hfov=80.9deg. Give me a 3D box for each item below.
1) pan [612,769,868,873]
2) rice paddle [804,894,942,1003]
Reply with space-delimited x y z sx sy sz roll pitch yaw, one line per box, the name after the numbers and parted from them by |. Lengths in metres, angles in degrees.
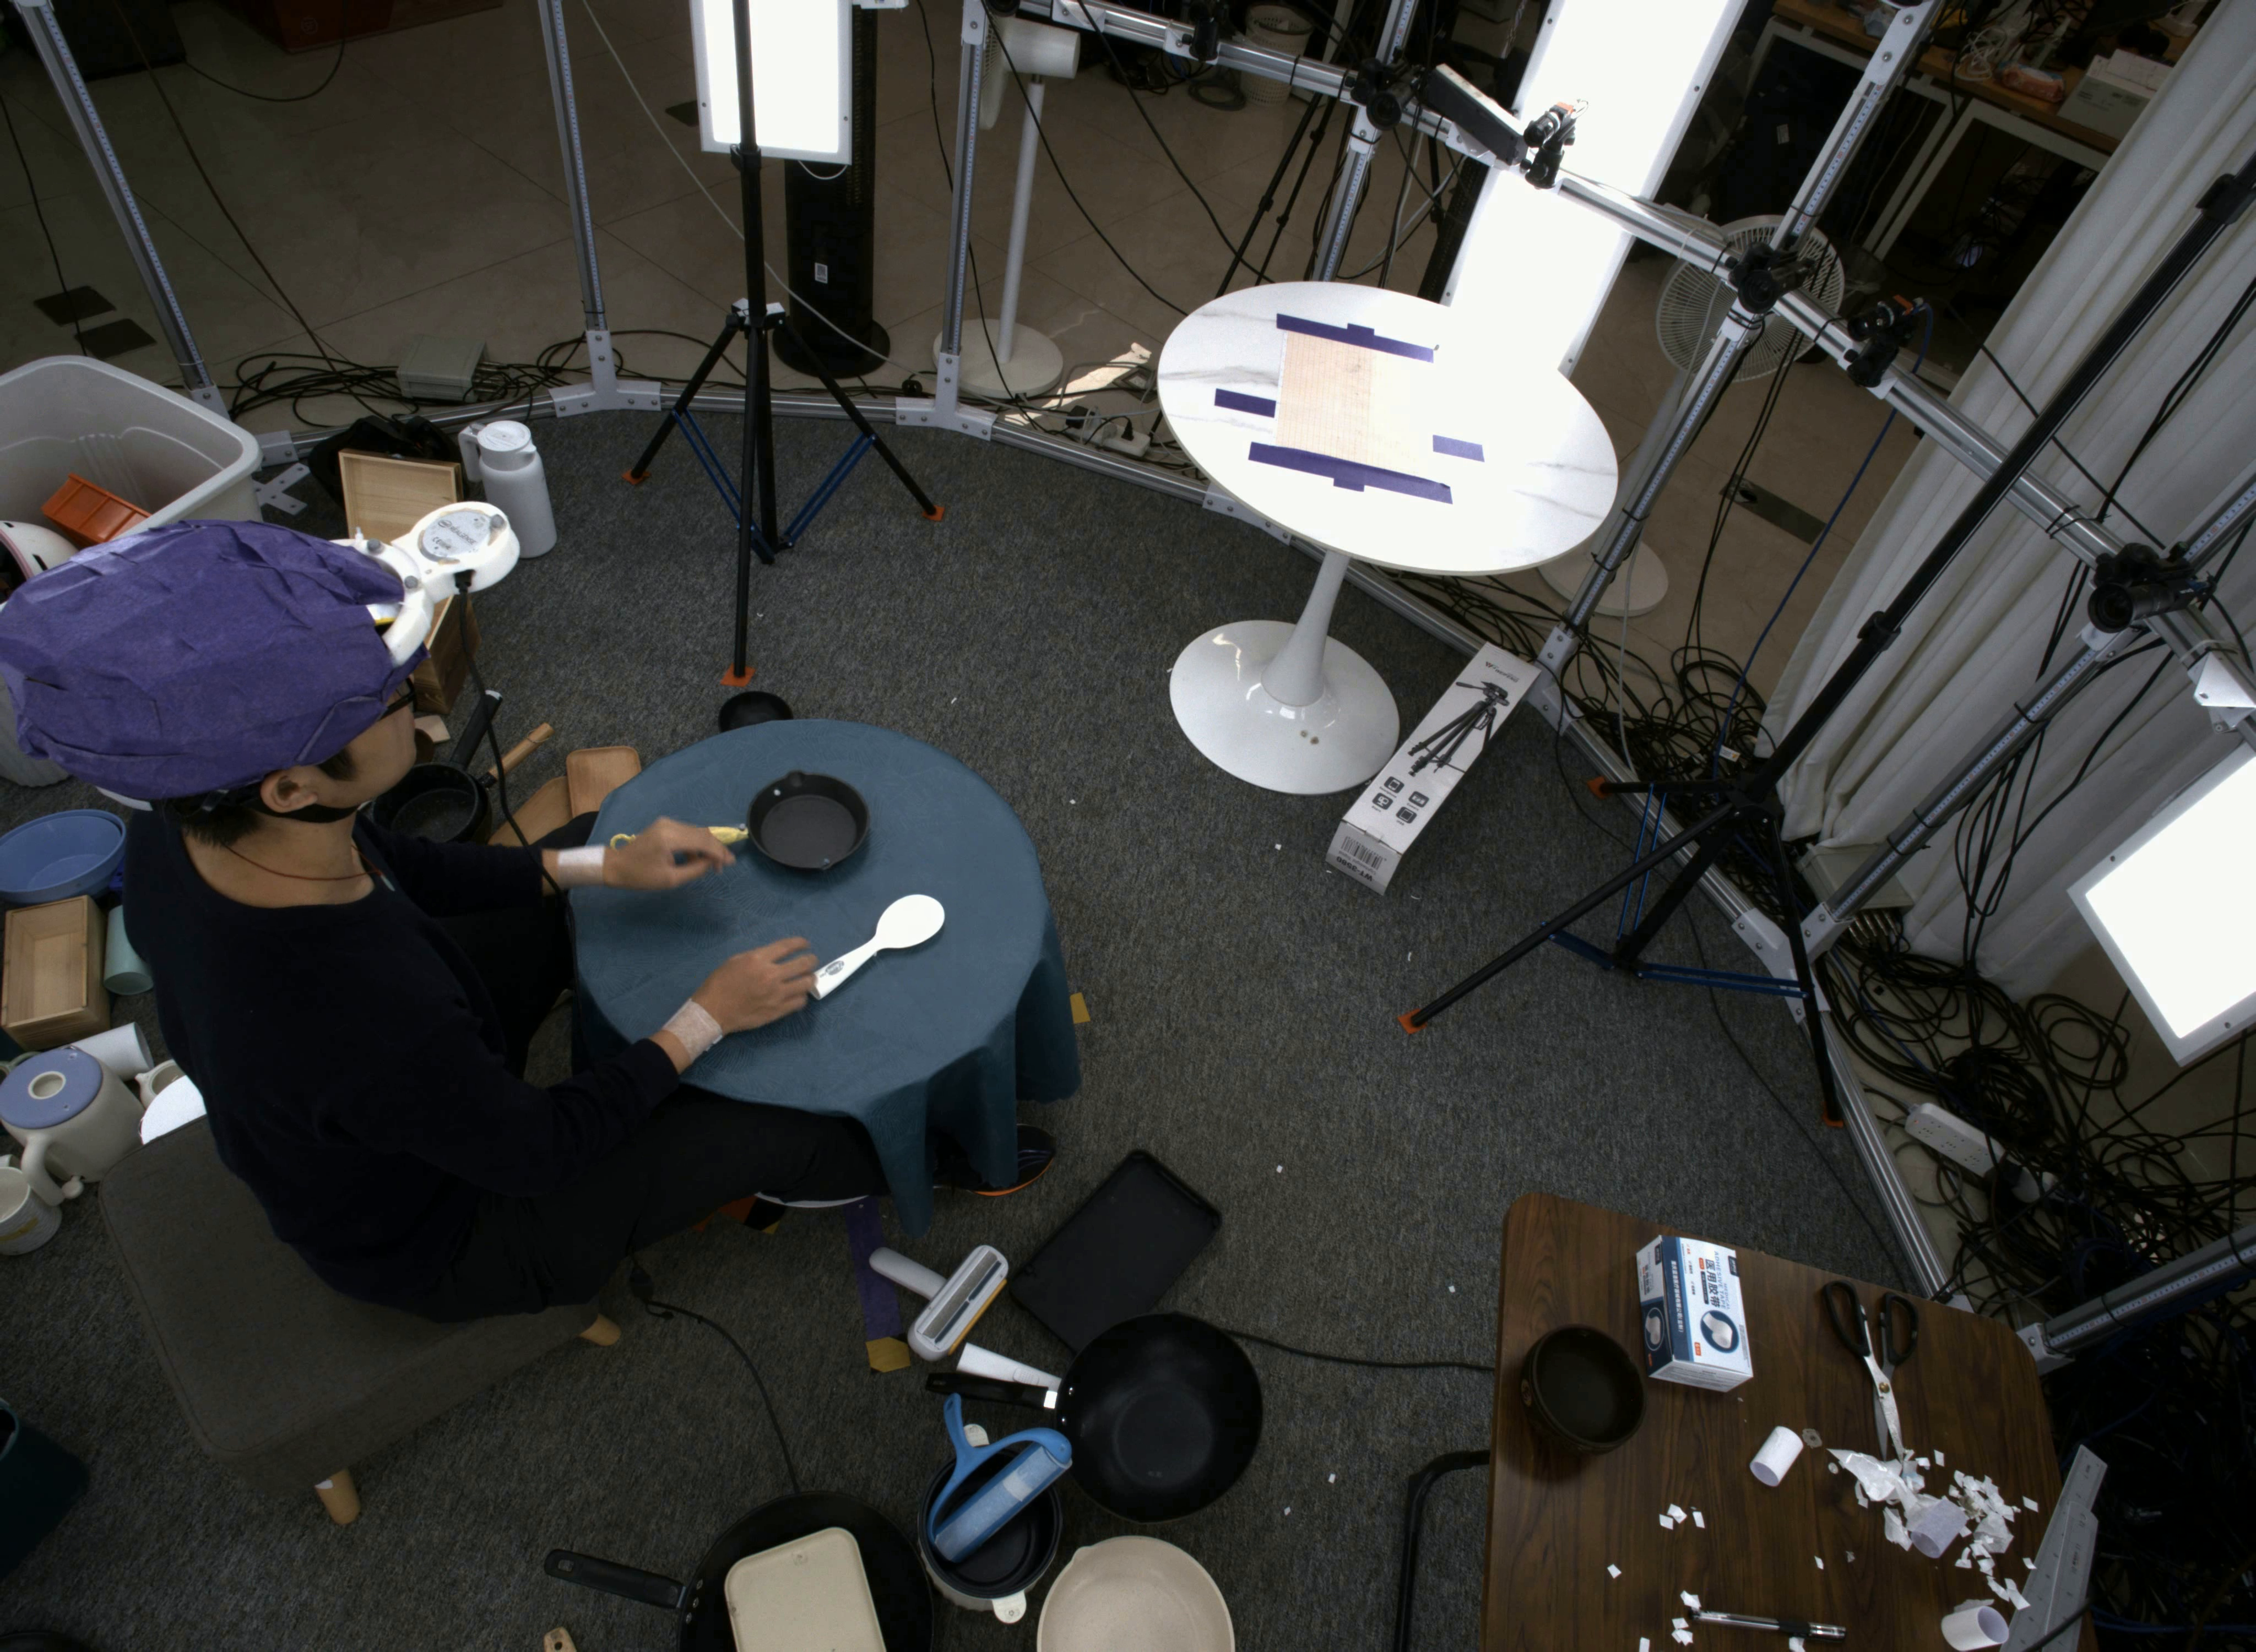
-0.496 0.007 1.656 0.326 0.050 0.165 -9 57 -23 | pan
-0.314 0.146 1.616 0.067 0.030 0.205 42 55 15 | rice paddle
